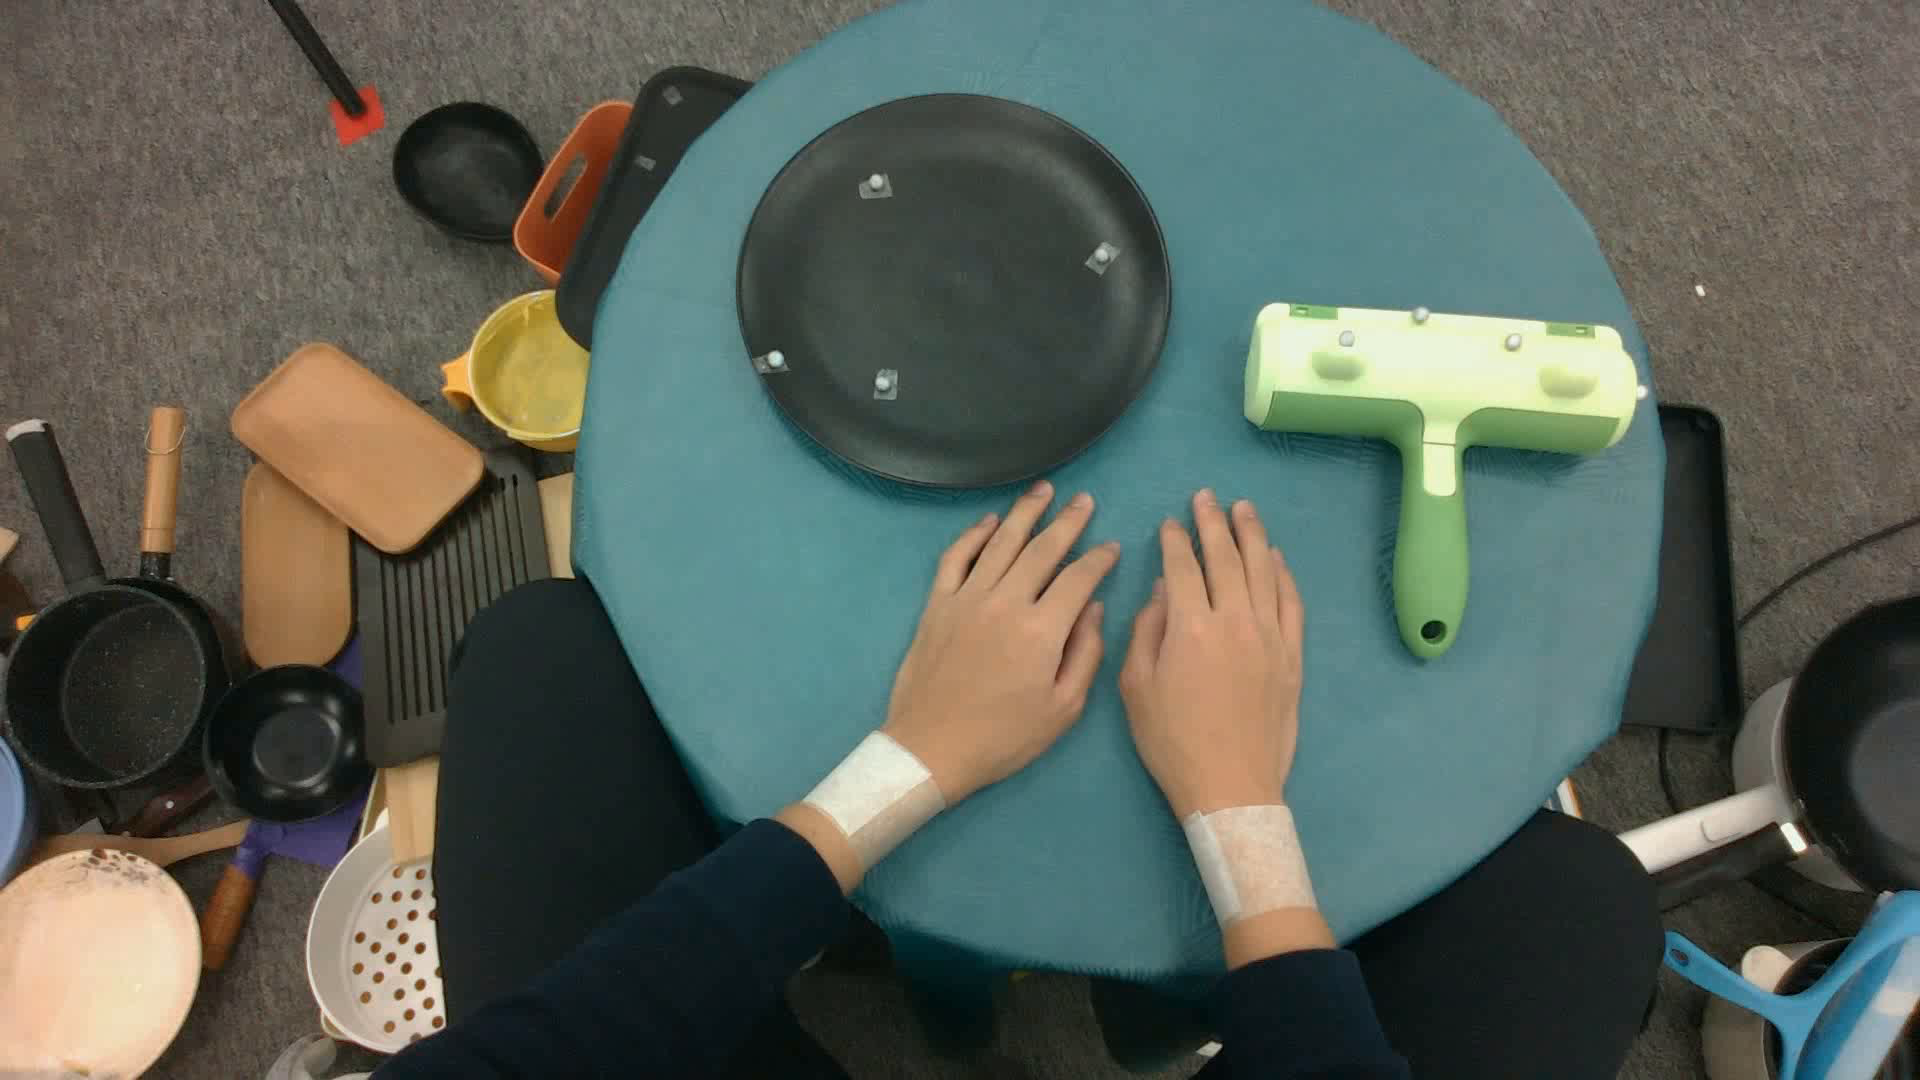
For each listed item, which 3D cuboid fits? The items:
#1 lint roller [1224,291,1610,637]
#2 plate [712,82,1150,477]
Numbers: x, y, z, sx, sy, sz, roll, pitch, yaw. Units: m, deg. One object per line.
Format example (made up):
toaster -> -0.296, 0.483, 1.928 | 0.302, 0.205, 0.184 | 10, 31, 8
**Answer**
lint roller -> 0.241, -0.047, 0.714 | 0.198, 0.082, 0.184 | 3, 66, 1
plate -> -0.016, -0.147, 0.773 | 0.244, 0.023, 0.245 | 0, 73, -1
